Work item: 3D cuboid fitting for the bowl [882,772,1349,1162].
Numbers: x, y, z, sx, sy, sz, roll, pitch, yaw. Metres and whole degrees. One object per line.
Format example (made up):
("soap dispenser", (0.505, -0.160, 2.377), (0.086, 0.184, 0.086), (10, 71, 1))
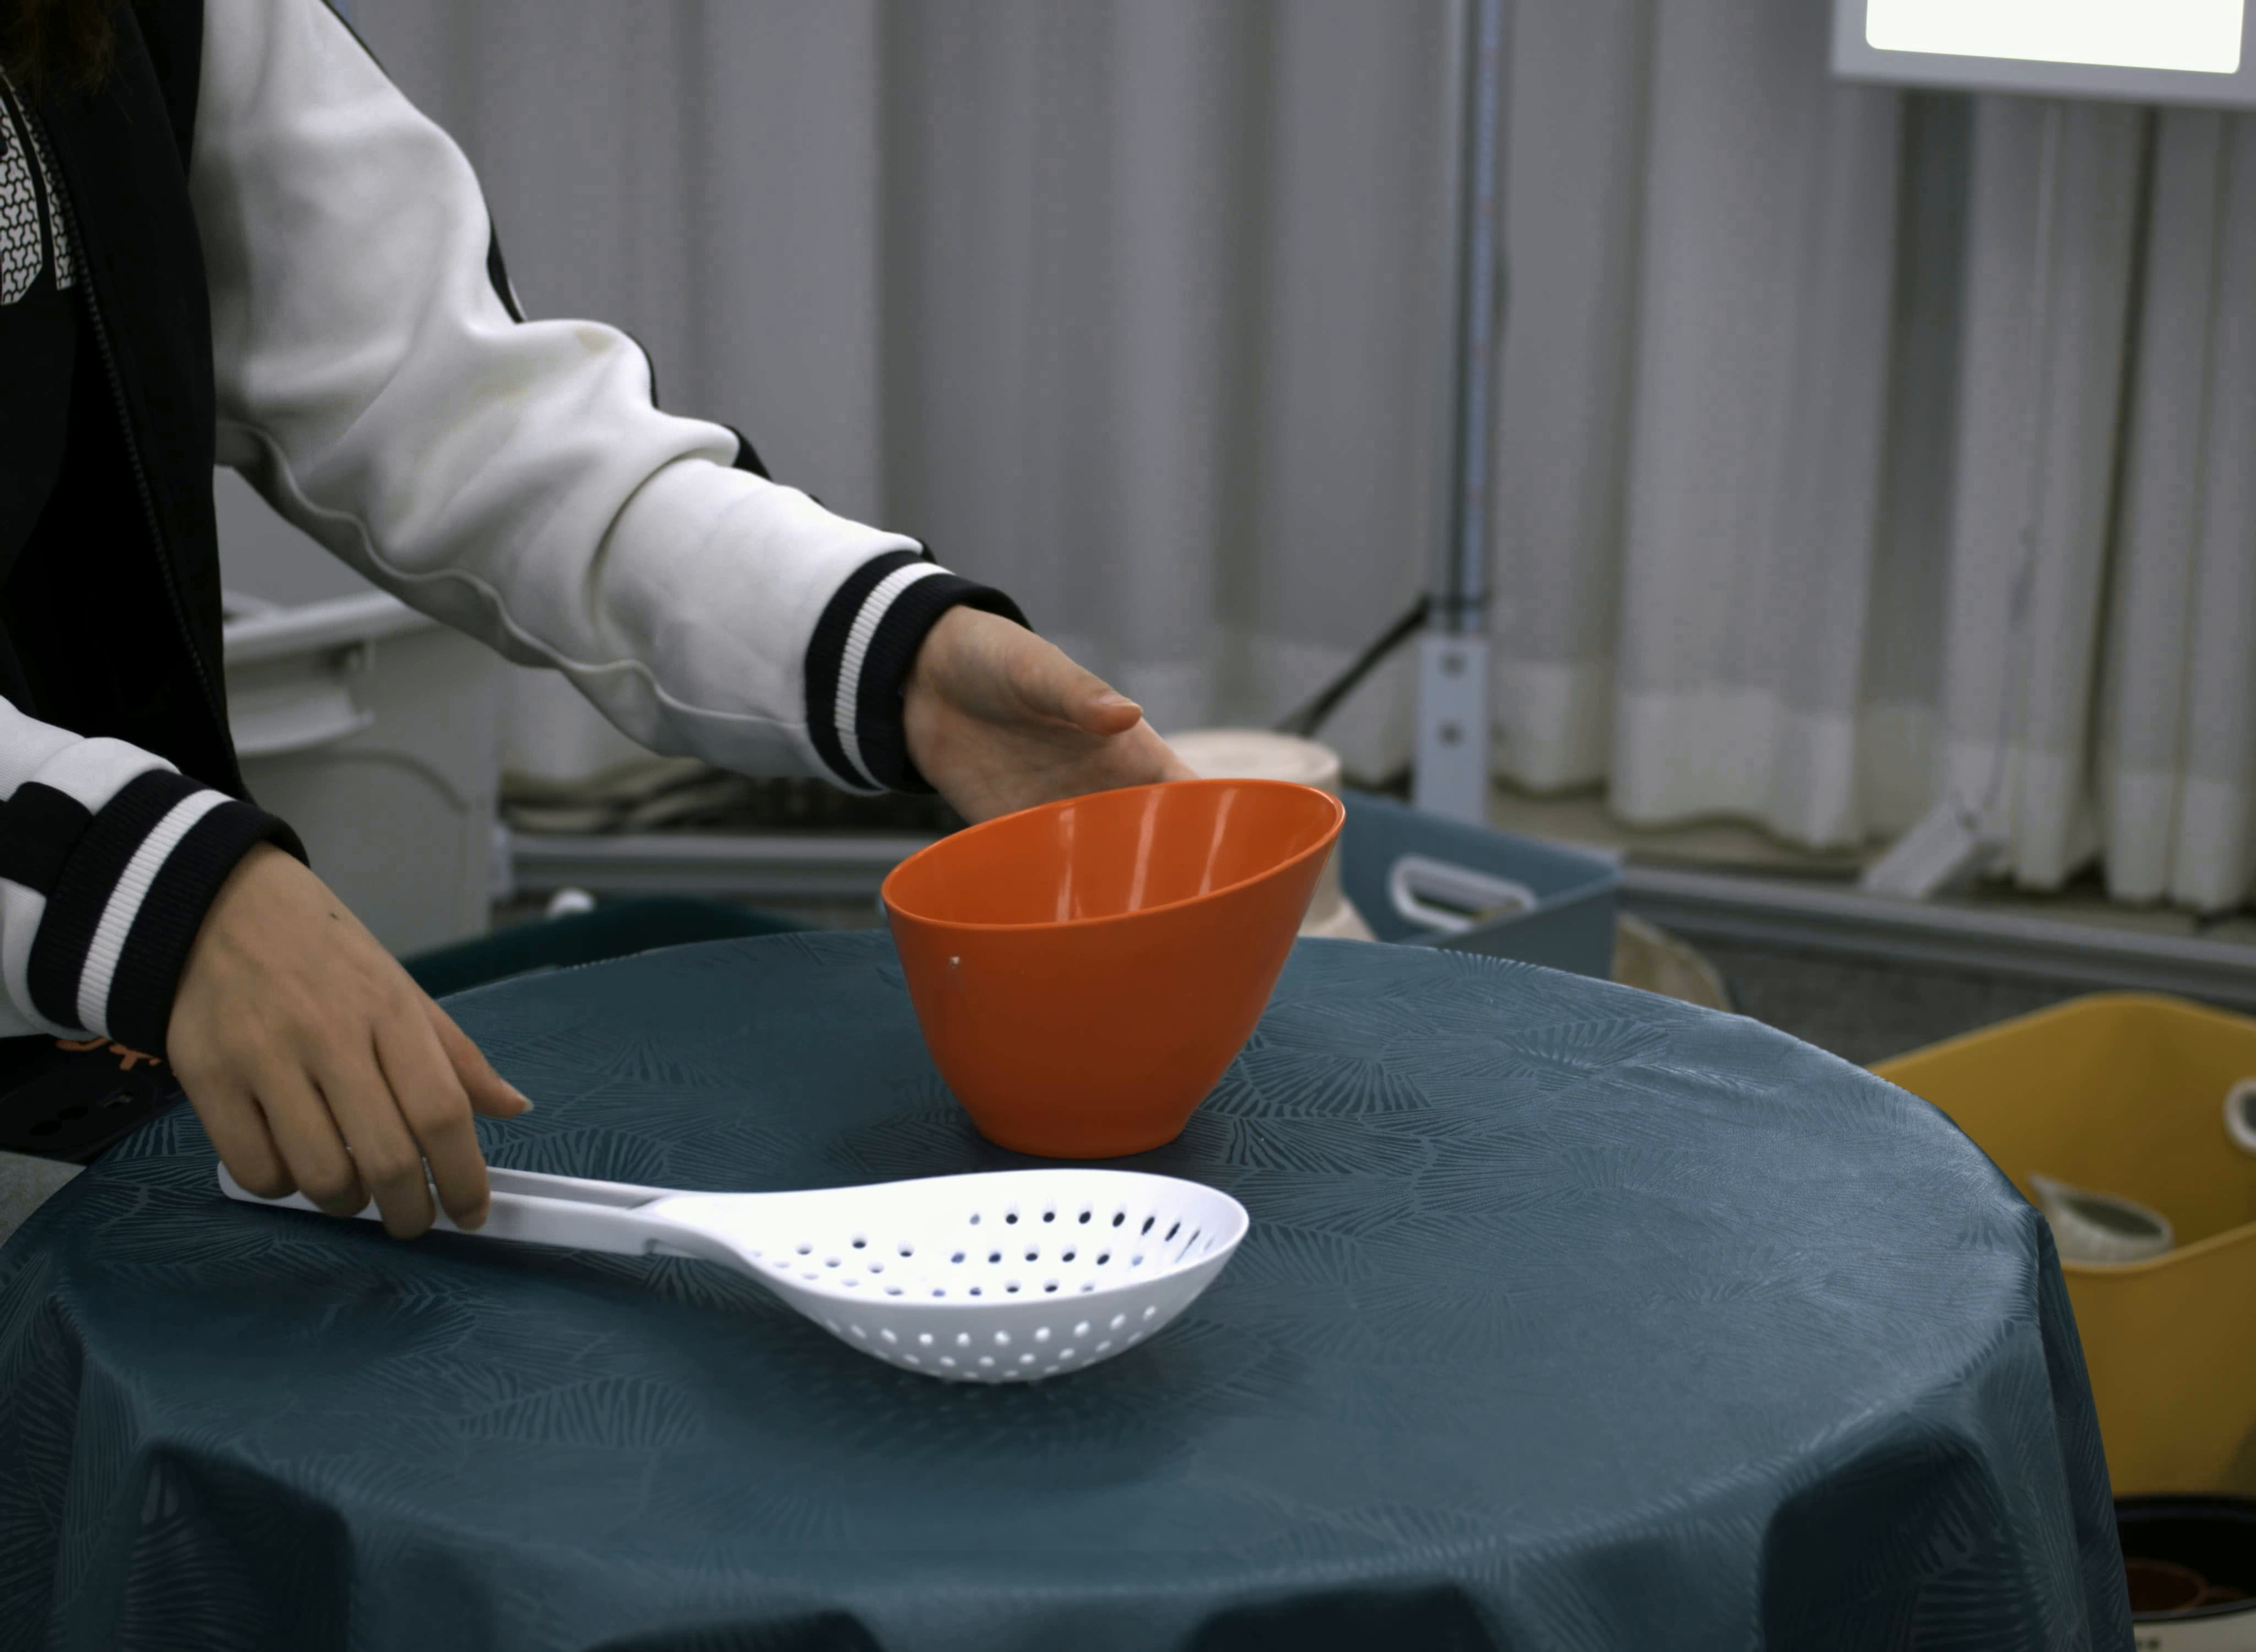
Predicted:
("bowl", (-0.004, 0.046, 1.665), (0.147, 0.105, 0.147), (0, 19, 1))

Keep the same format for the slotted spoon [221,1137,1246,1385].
("slotted spoon", (-0.125, 0.115, 1.522), (0.345, 0.046, 0.136), (9, 16, 30))
